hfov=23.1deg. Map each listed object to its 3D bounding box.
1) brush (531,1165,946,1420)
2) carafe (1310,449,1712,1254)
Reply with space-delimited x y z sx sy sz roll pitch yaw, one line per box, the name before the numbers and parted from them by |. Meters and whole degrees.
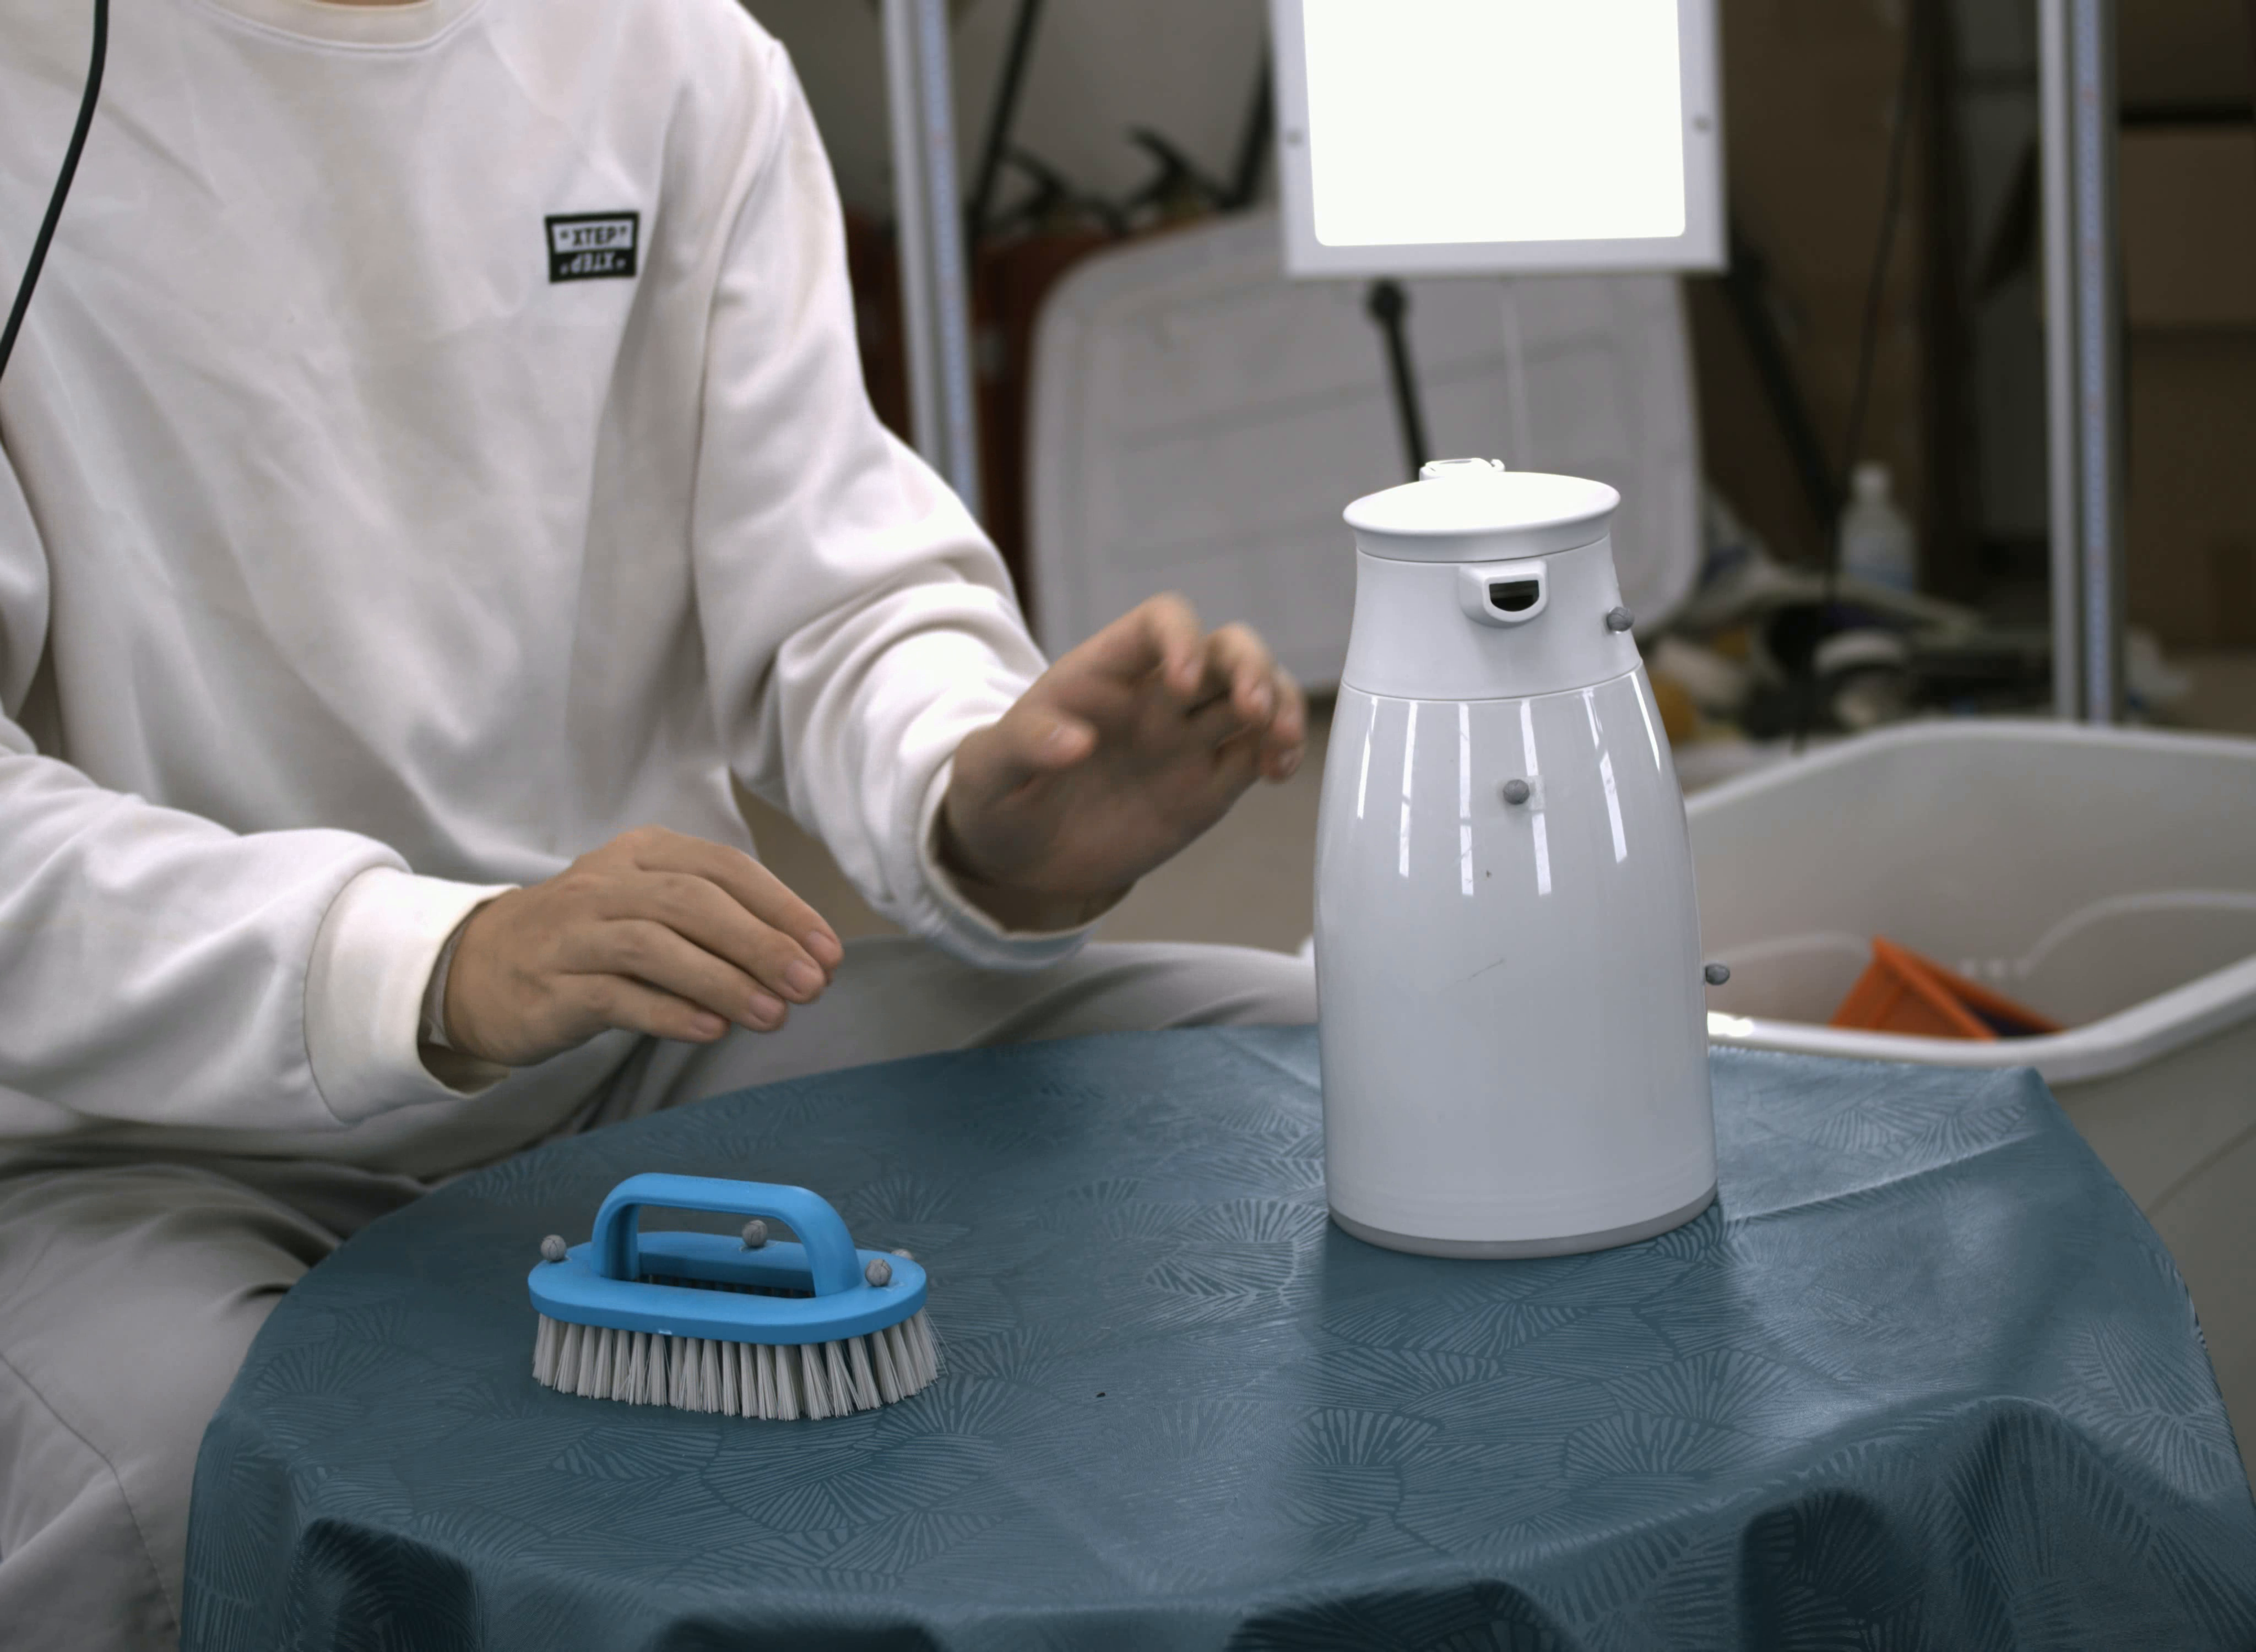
brush | -0.128 0.140 1.747 0.144 0.064 0.082 3 20 33
carafe | 0.120 0.000 1.842 0.132 0.249 0.168 -6 13 -4
